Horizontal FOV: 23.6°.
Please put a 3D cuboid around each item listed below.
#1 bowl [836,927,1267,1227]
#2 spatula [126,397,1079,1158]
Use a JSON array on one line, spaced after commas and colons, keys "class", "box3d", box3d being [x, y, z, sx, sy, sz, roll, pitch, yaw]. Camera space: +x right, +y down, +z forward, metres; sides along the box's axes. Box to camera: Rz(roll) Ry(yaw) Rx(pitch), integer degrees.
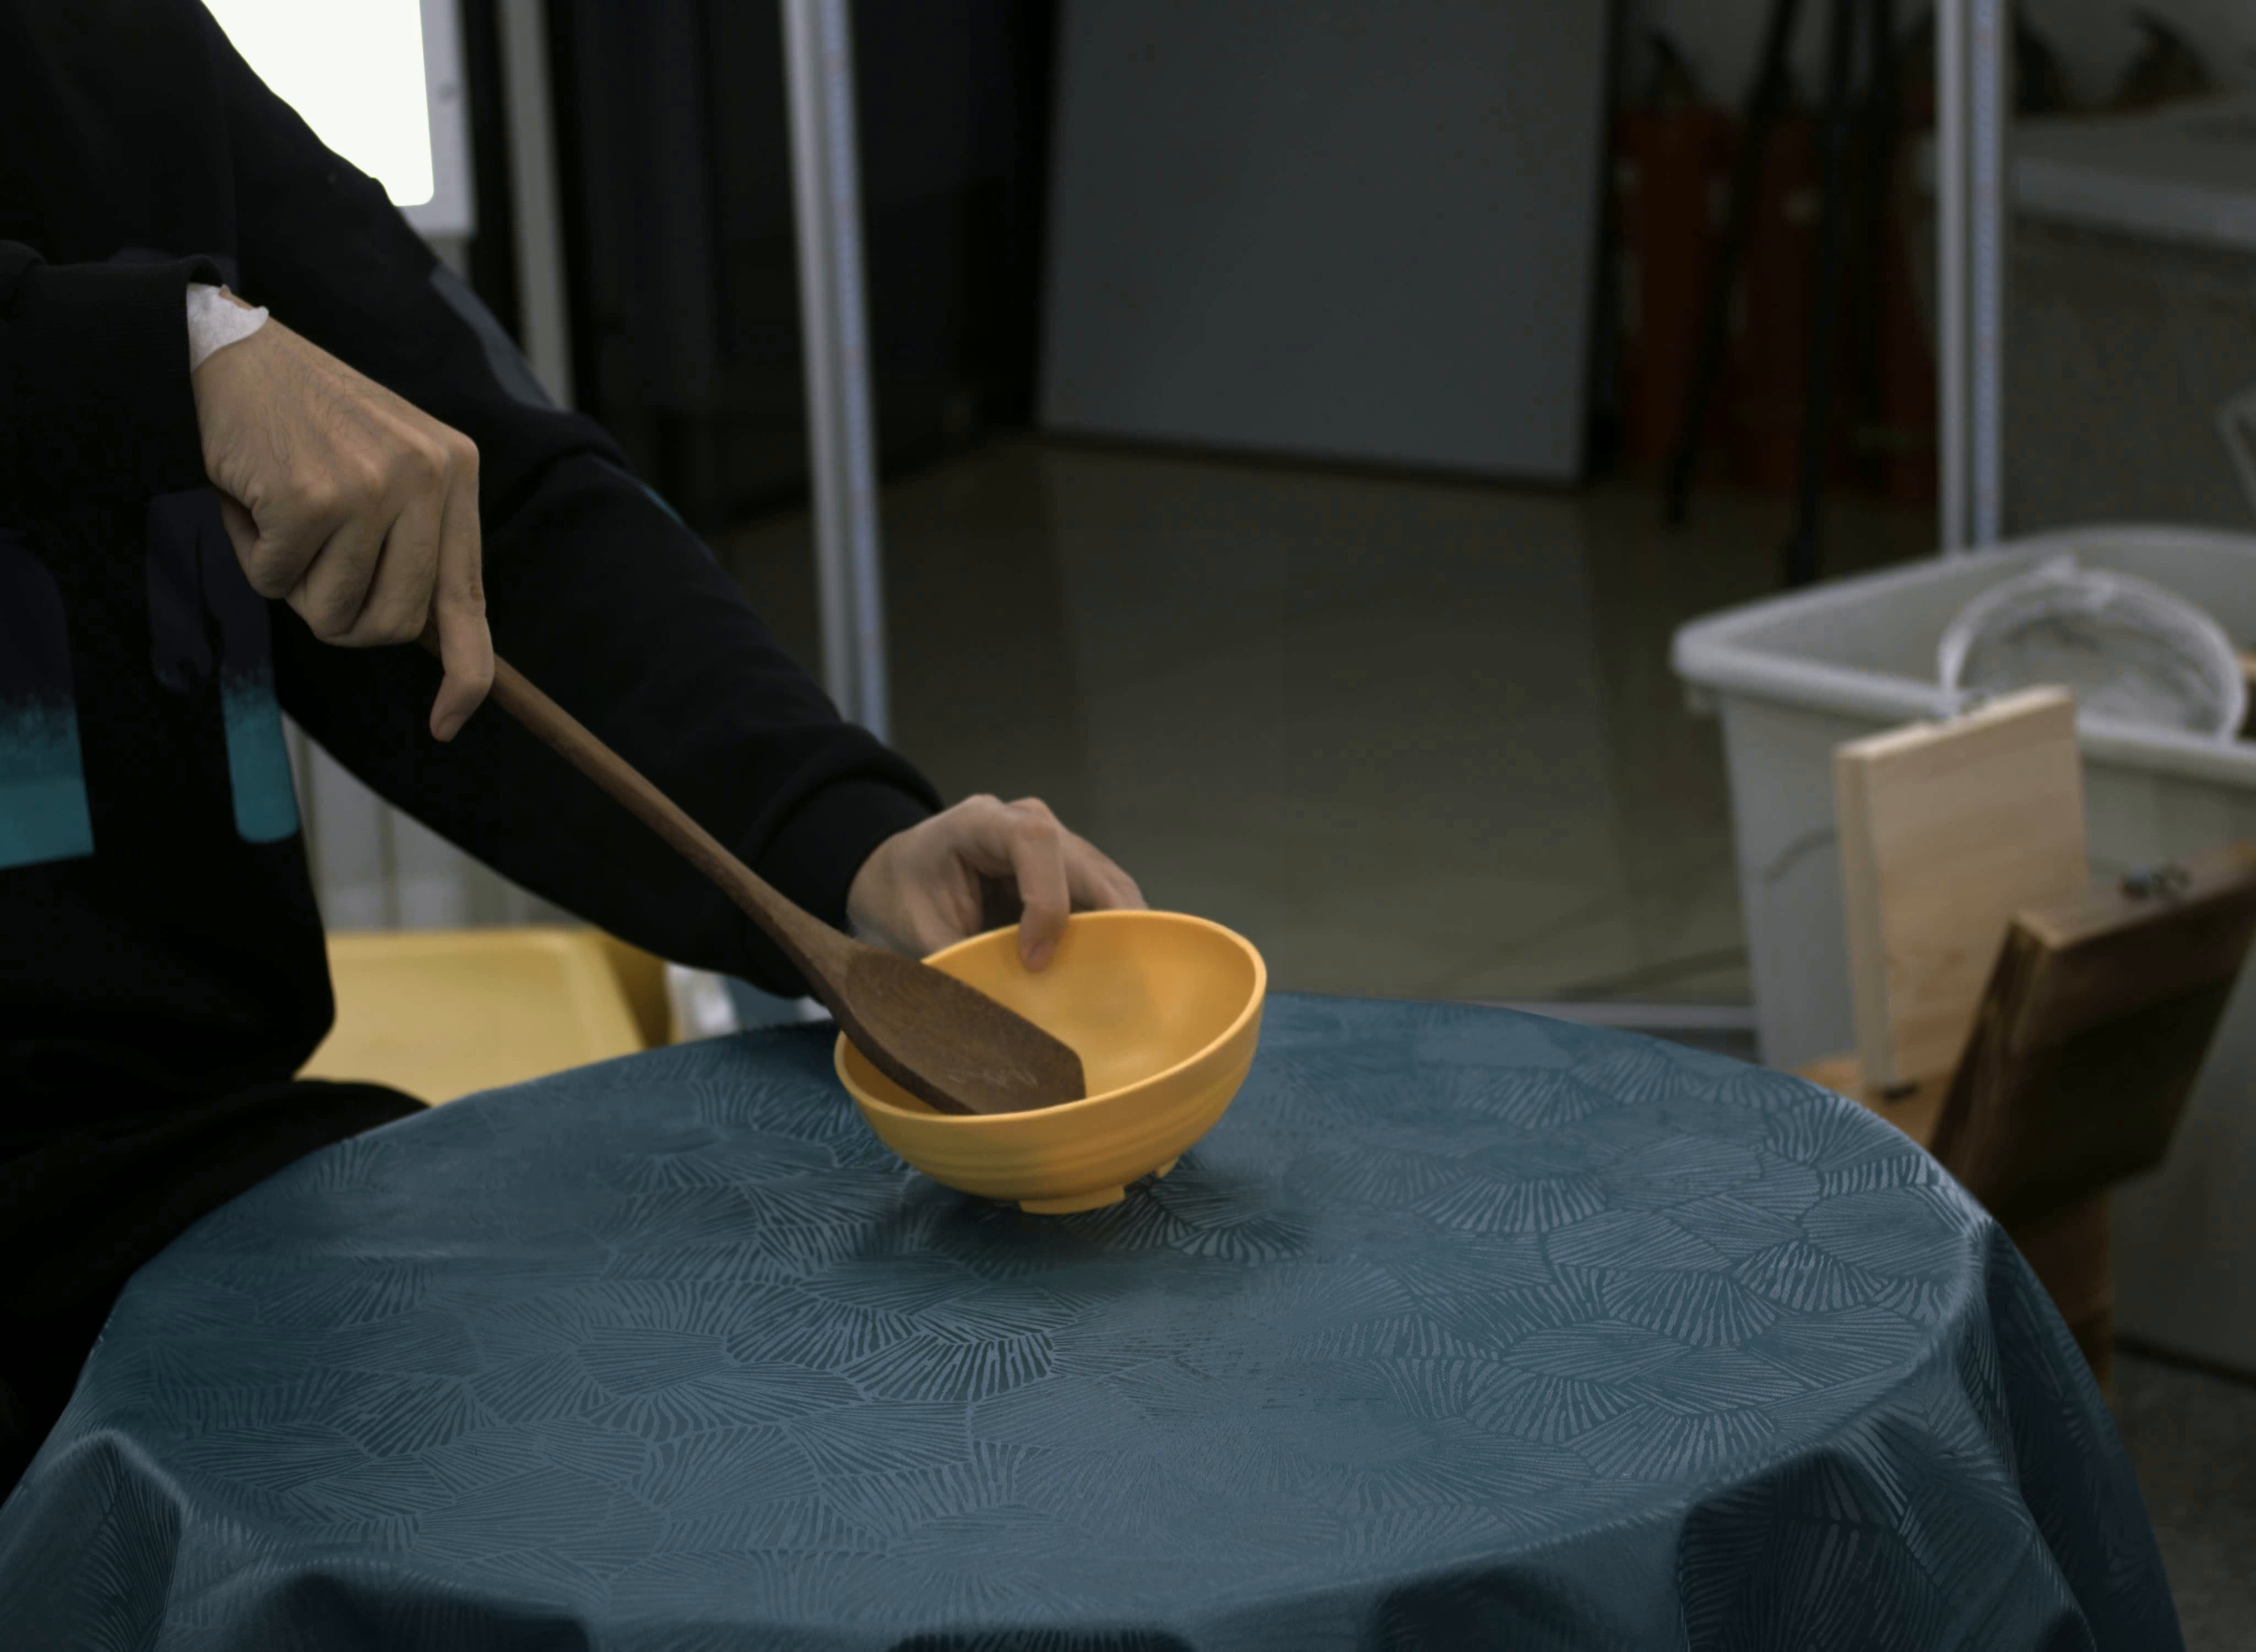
[{"class": "bowl", "box3d": [-0.020, 0.090, 1.763, 0.144, 0.060, 0.146, -12, 21, 4]}, {"class": "spatula", "box3d": [-0.168, -0.018, 1.744, 0.385, 0.016, 0.095, 39, 19, 0]}]
